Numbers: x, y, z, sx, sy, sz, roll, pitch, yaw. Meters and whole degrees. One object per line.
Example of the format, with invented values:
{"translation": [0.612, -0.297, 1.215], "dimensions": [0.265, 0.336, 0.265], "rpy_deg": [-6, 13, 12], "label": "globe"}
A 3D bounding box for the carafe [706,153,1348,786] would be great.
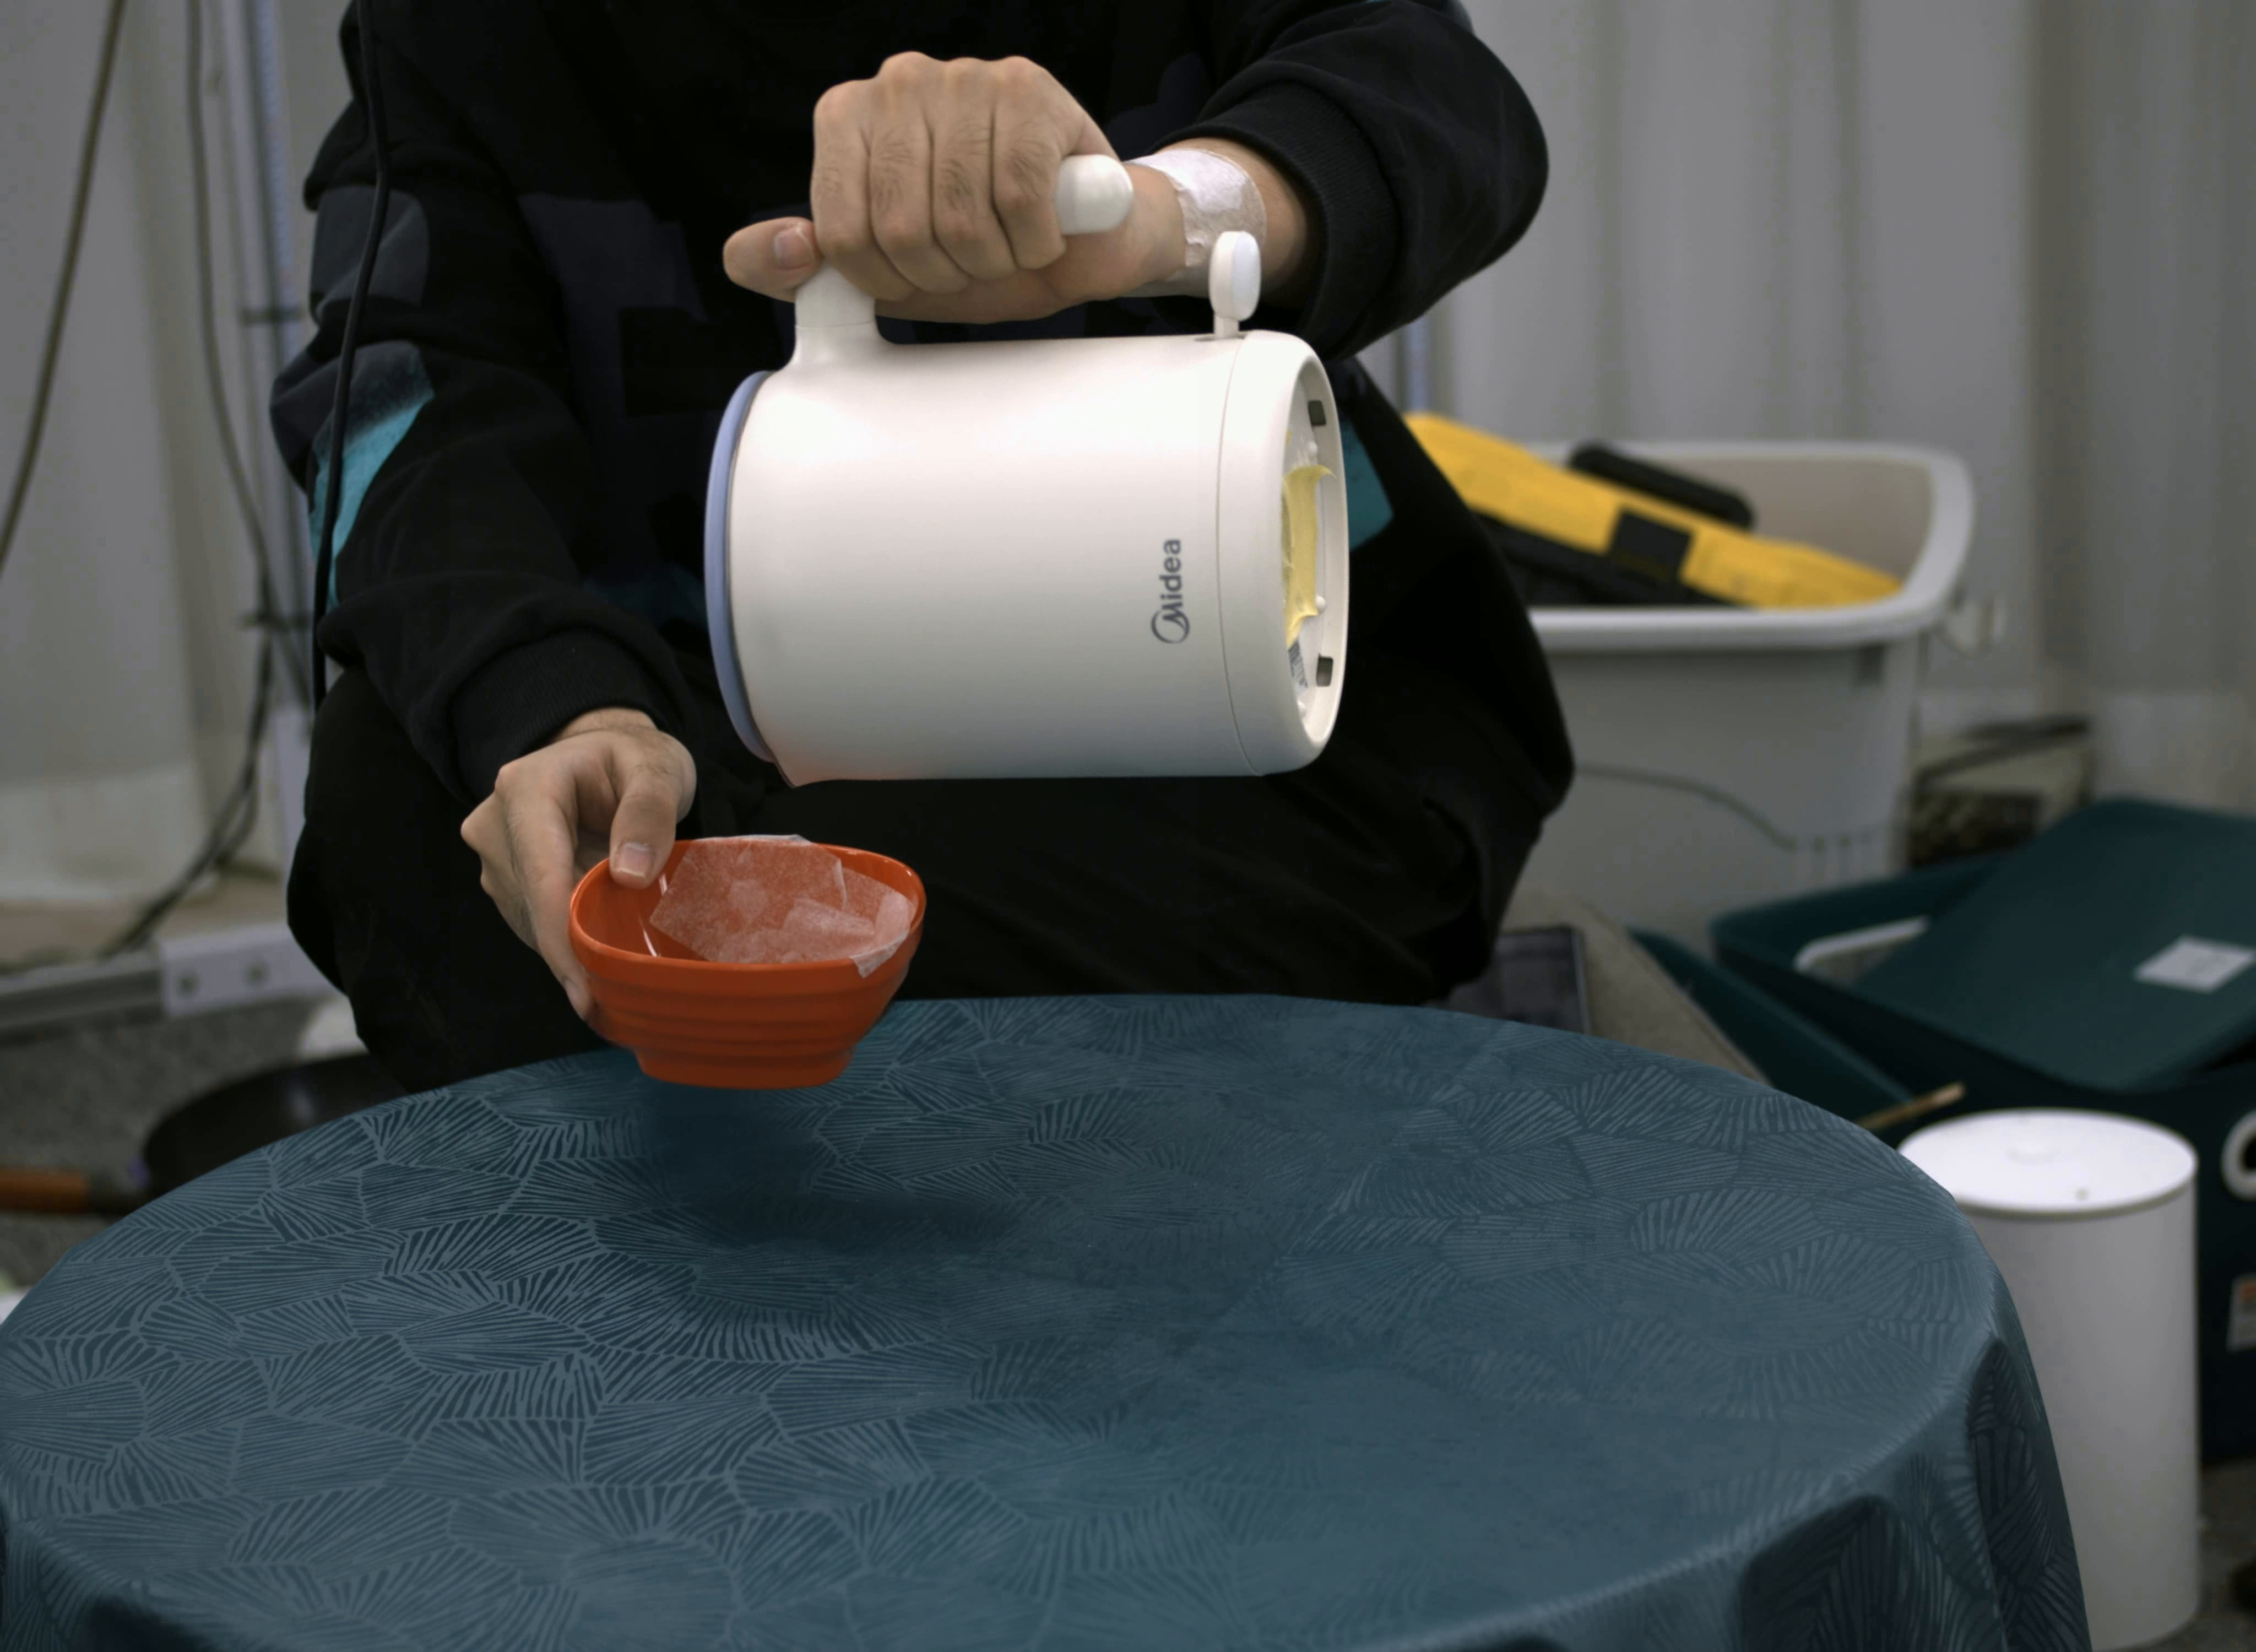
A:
{"translation": [-0.028, -0.104, 1.630], "dimensions": [0.182, 0.191, 0.132], "rpy_deg": [1, 10, 11], "label": "carafe"}

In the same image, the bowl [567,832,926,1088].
{"translation": [-0.117, 0.045, 1.693], "dimensions": [0.118, 0.051, 0.120], "rpy_deg": [-1, 21, 0], "label": "bowl"}
